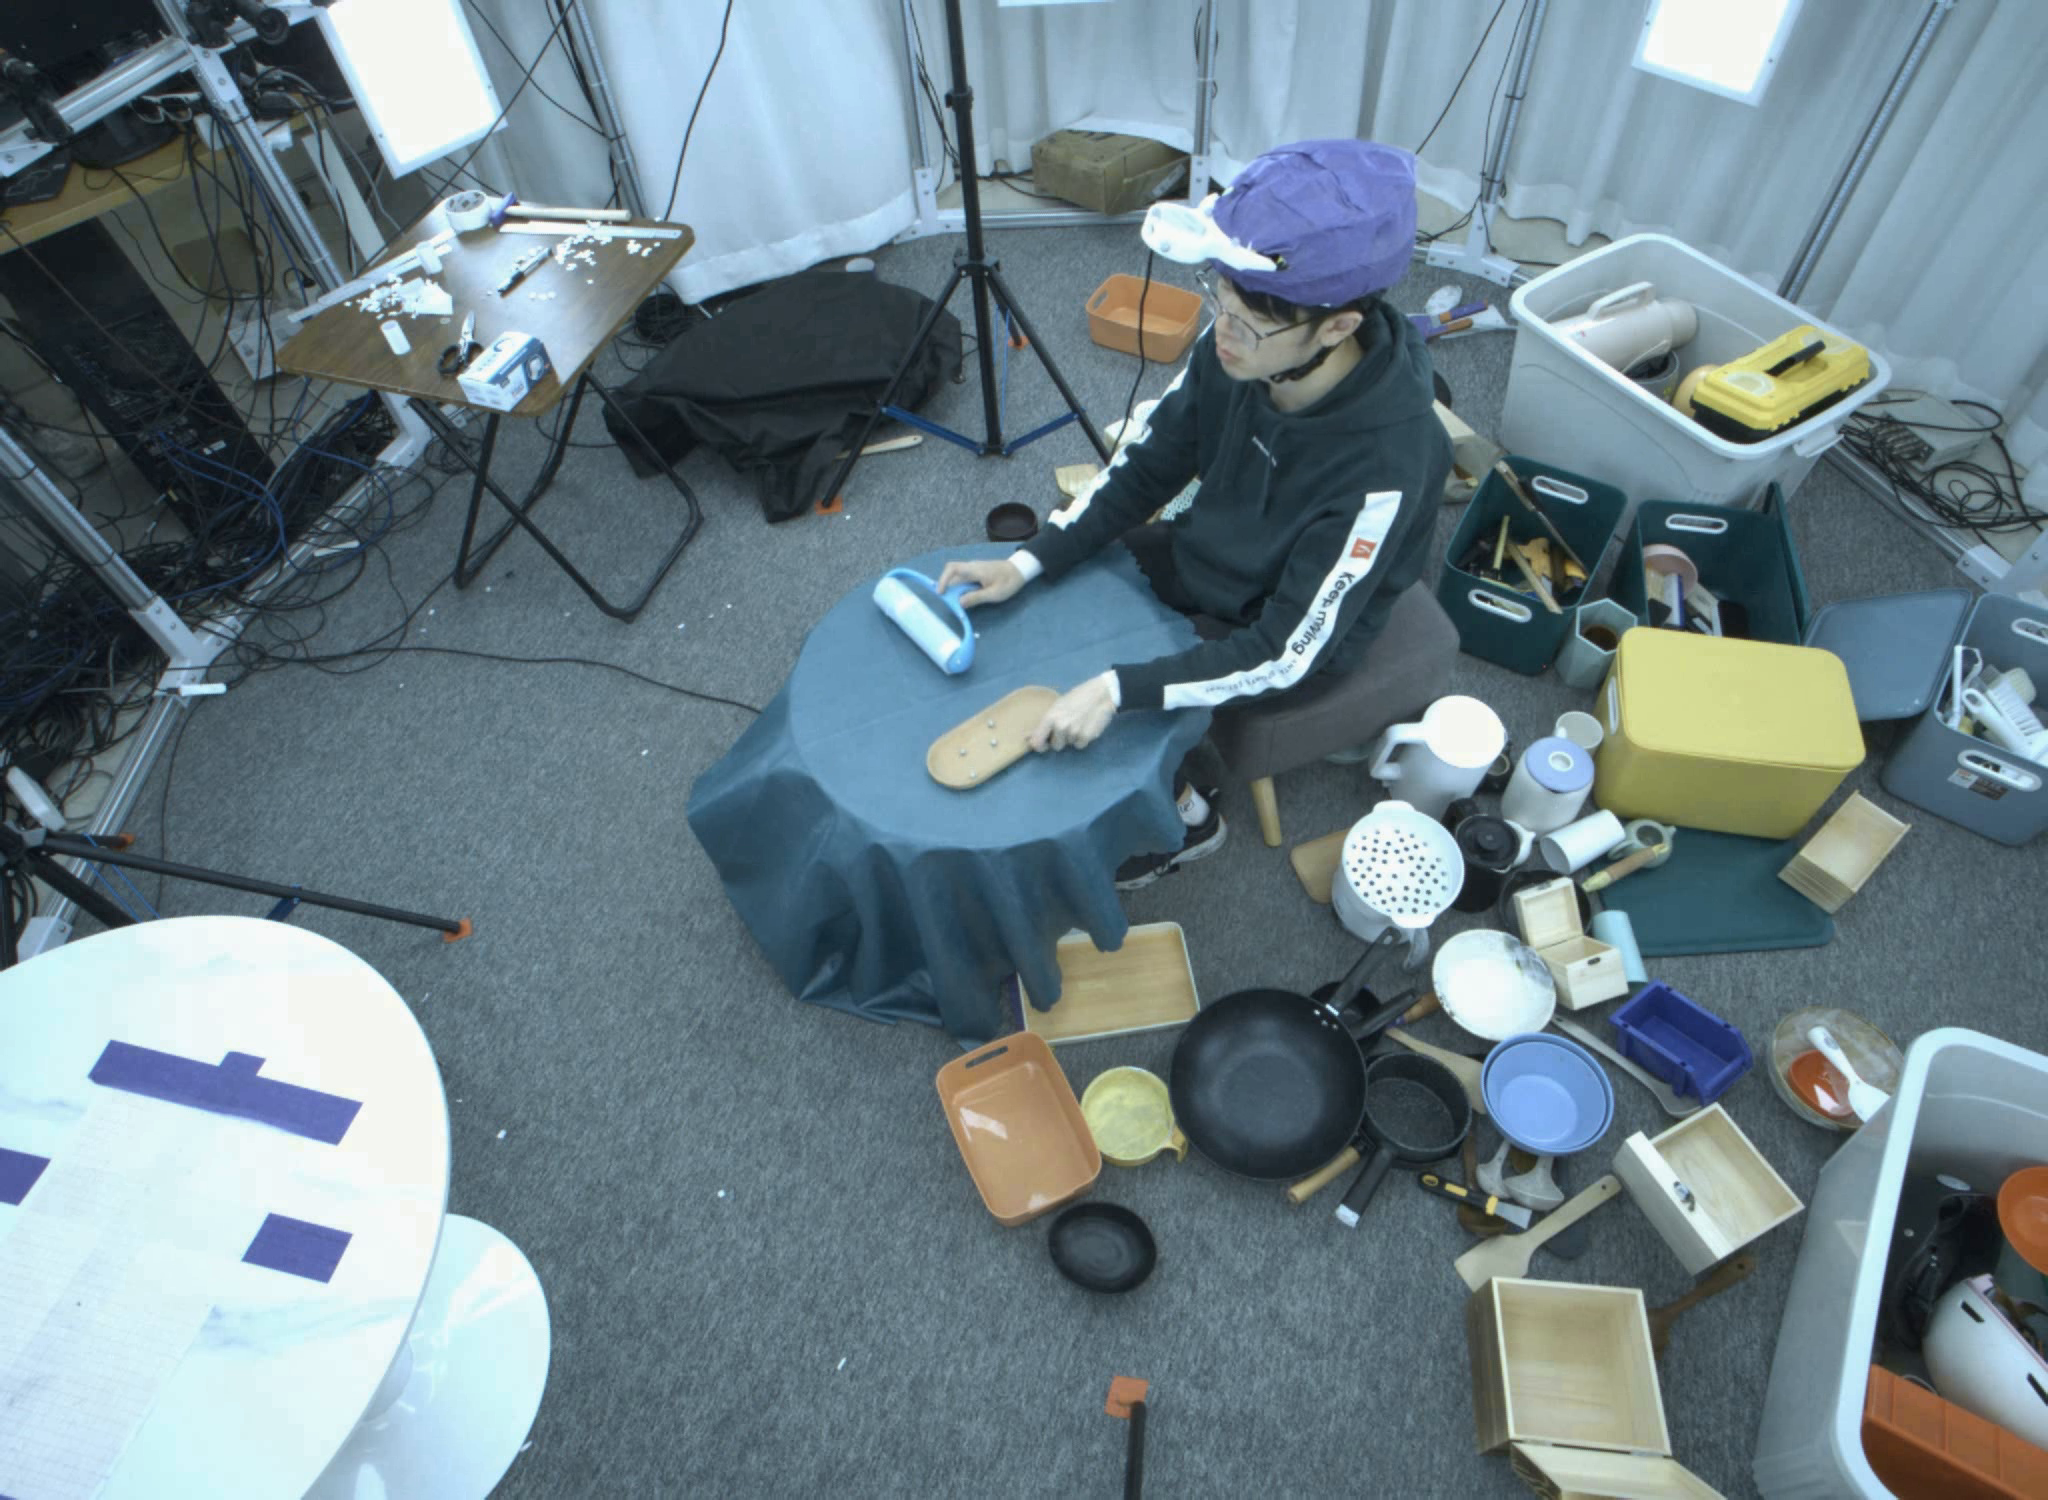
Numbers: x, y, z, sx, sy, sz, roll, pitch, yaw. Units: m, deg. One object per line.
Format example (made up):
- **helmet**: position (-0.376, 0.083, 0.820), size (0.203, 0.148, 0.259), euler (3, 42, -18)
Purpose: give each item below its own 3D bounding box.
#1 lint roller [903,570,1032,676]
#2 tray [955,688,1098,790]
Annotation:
- **lint roller**: position (-0.066, -0.224, 1.909), size (0.181, 0.069, 0.224), euler (-35, 59, -20)
- **tray**: position (0.005, -0.016, 1.783), size (0.233, 0.020, 0.099), euler (-31, 57, -21)
